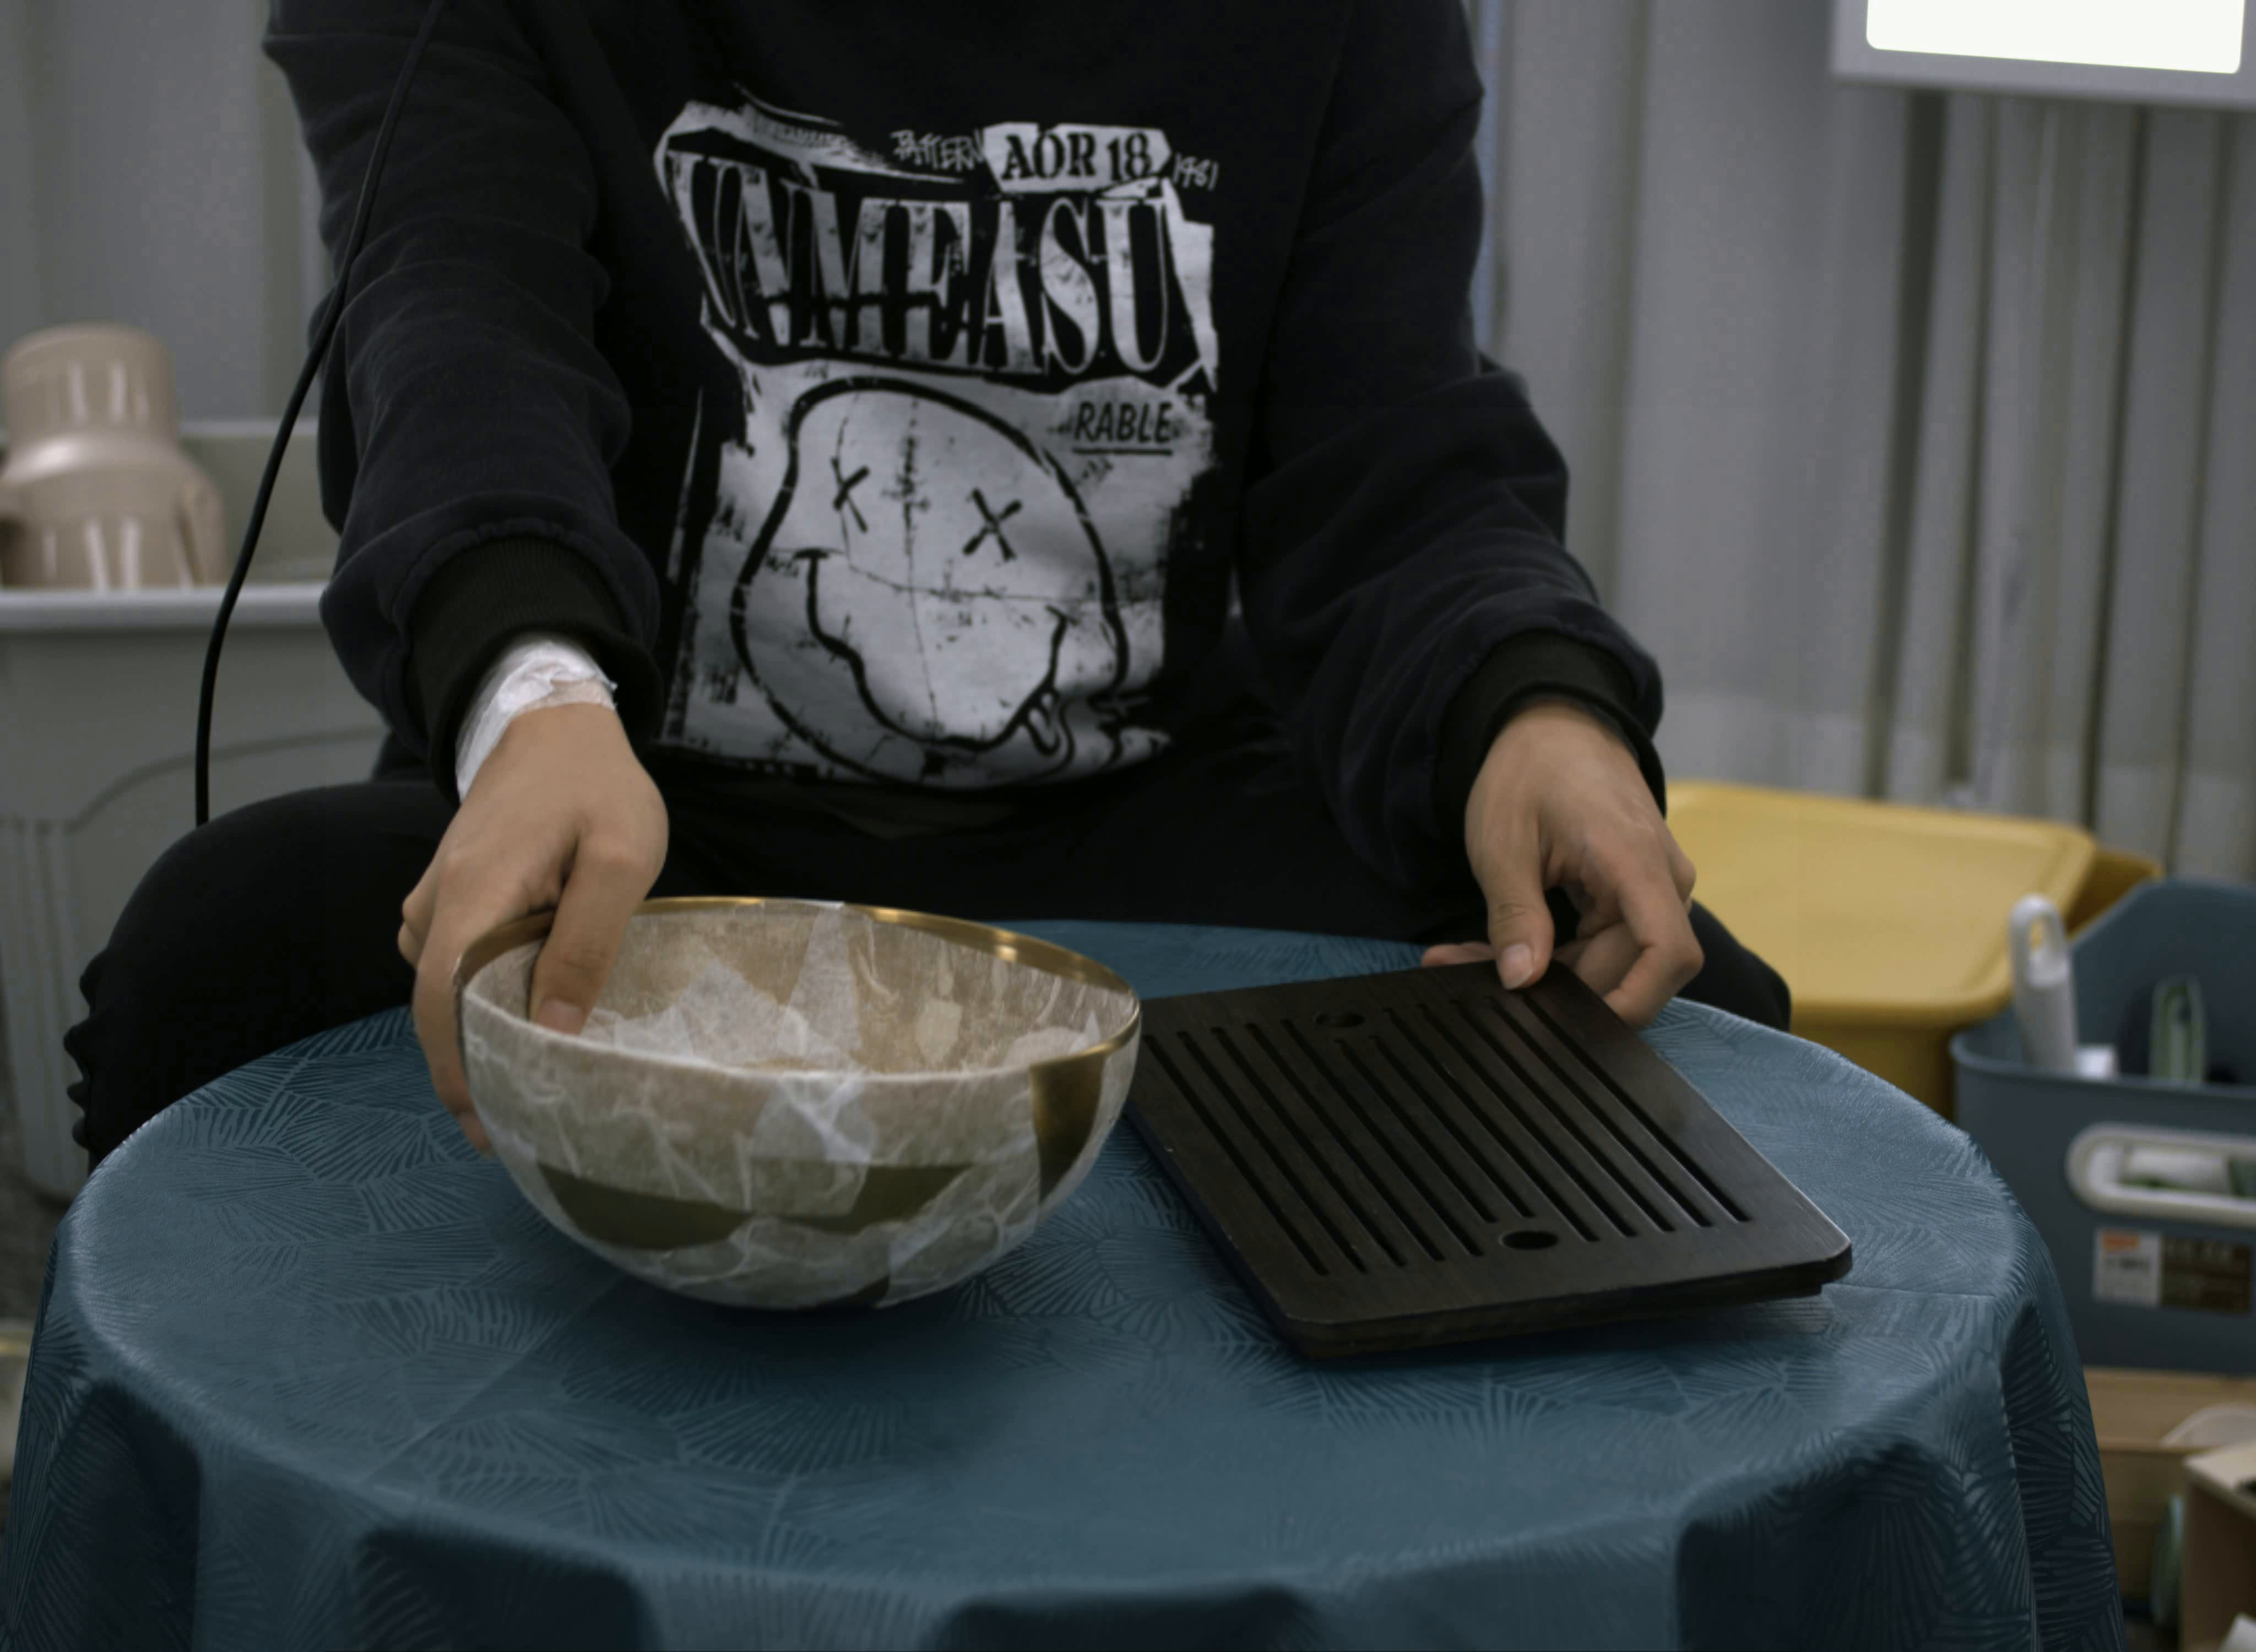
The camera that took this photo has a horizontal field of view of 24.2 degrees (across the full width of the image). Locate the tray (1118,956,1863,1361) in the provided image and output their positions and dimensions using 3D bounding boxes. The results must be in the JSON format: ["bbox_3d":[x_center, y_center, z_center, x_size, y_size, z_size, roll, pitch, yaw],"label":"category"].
[{"bbox_3d":[0.098,0.099,1.631,0.170,0.019,0.303,-6,17,-12],"label":"tray"}]

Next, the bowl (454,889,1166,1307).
[{"bbox_3d":[-0.094,0.085,1.532,0.214,0.095,0.214,4,13,0],"label":"bowl"}]
